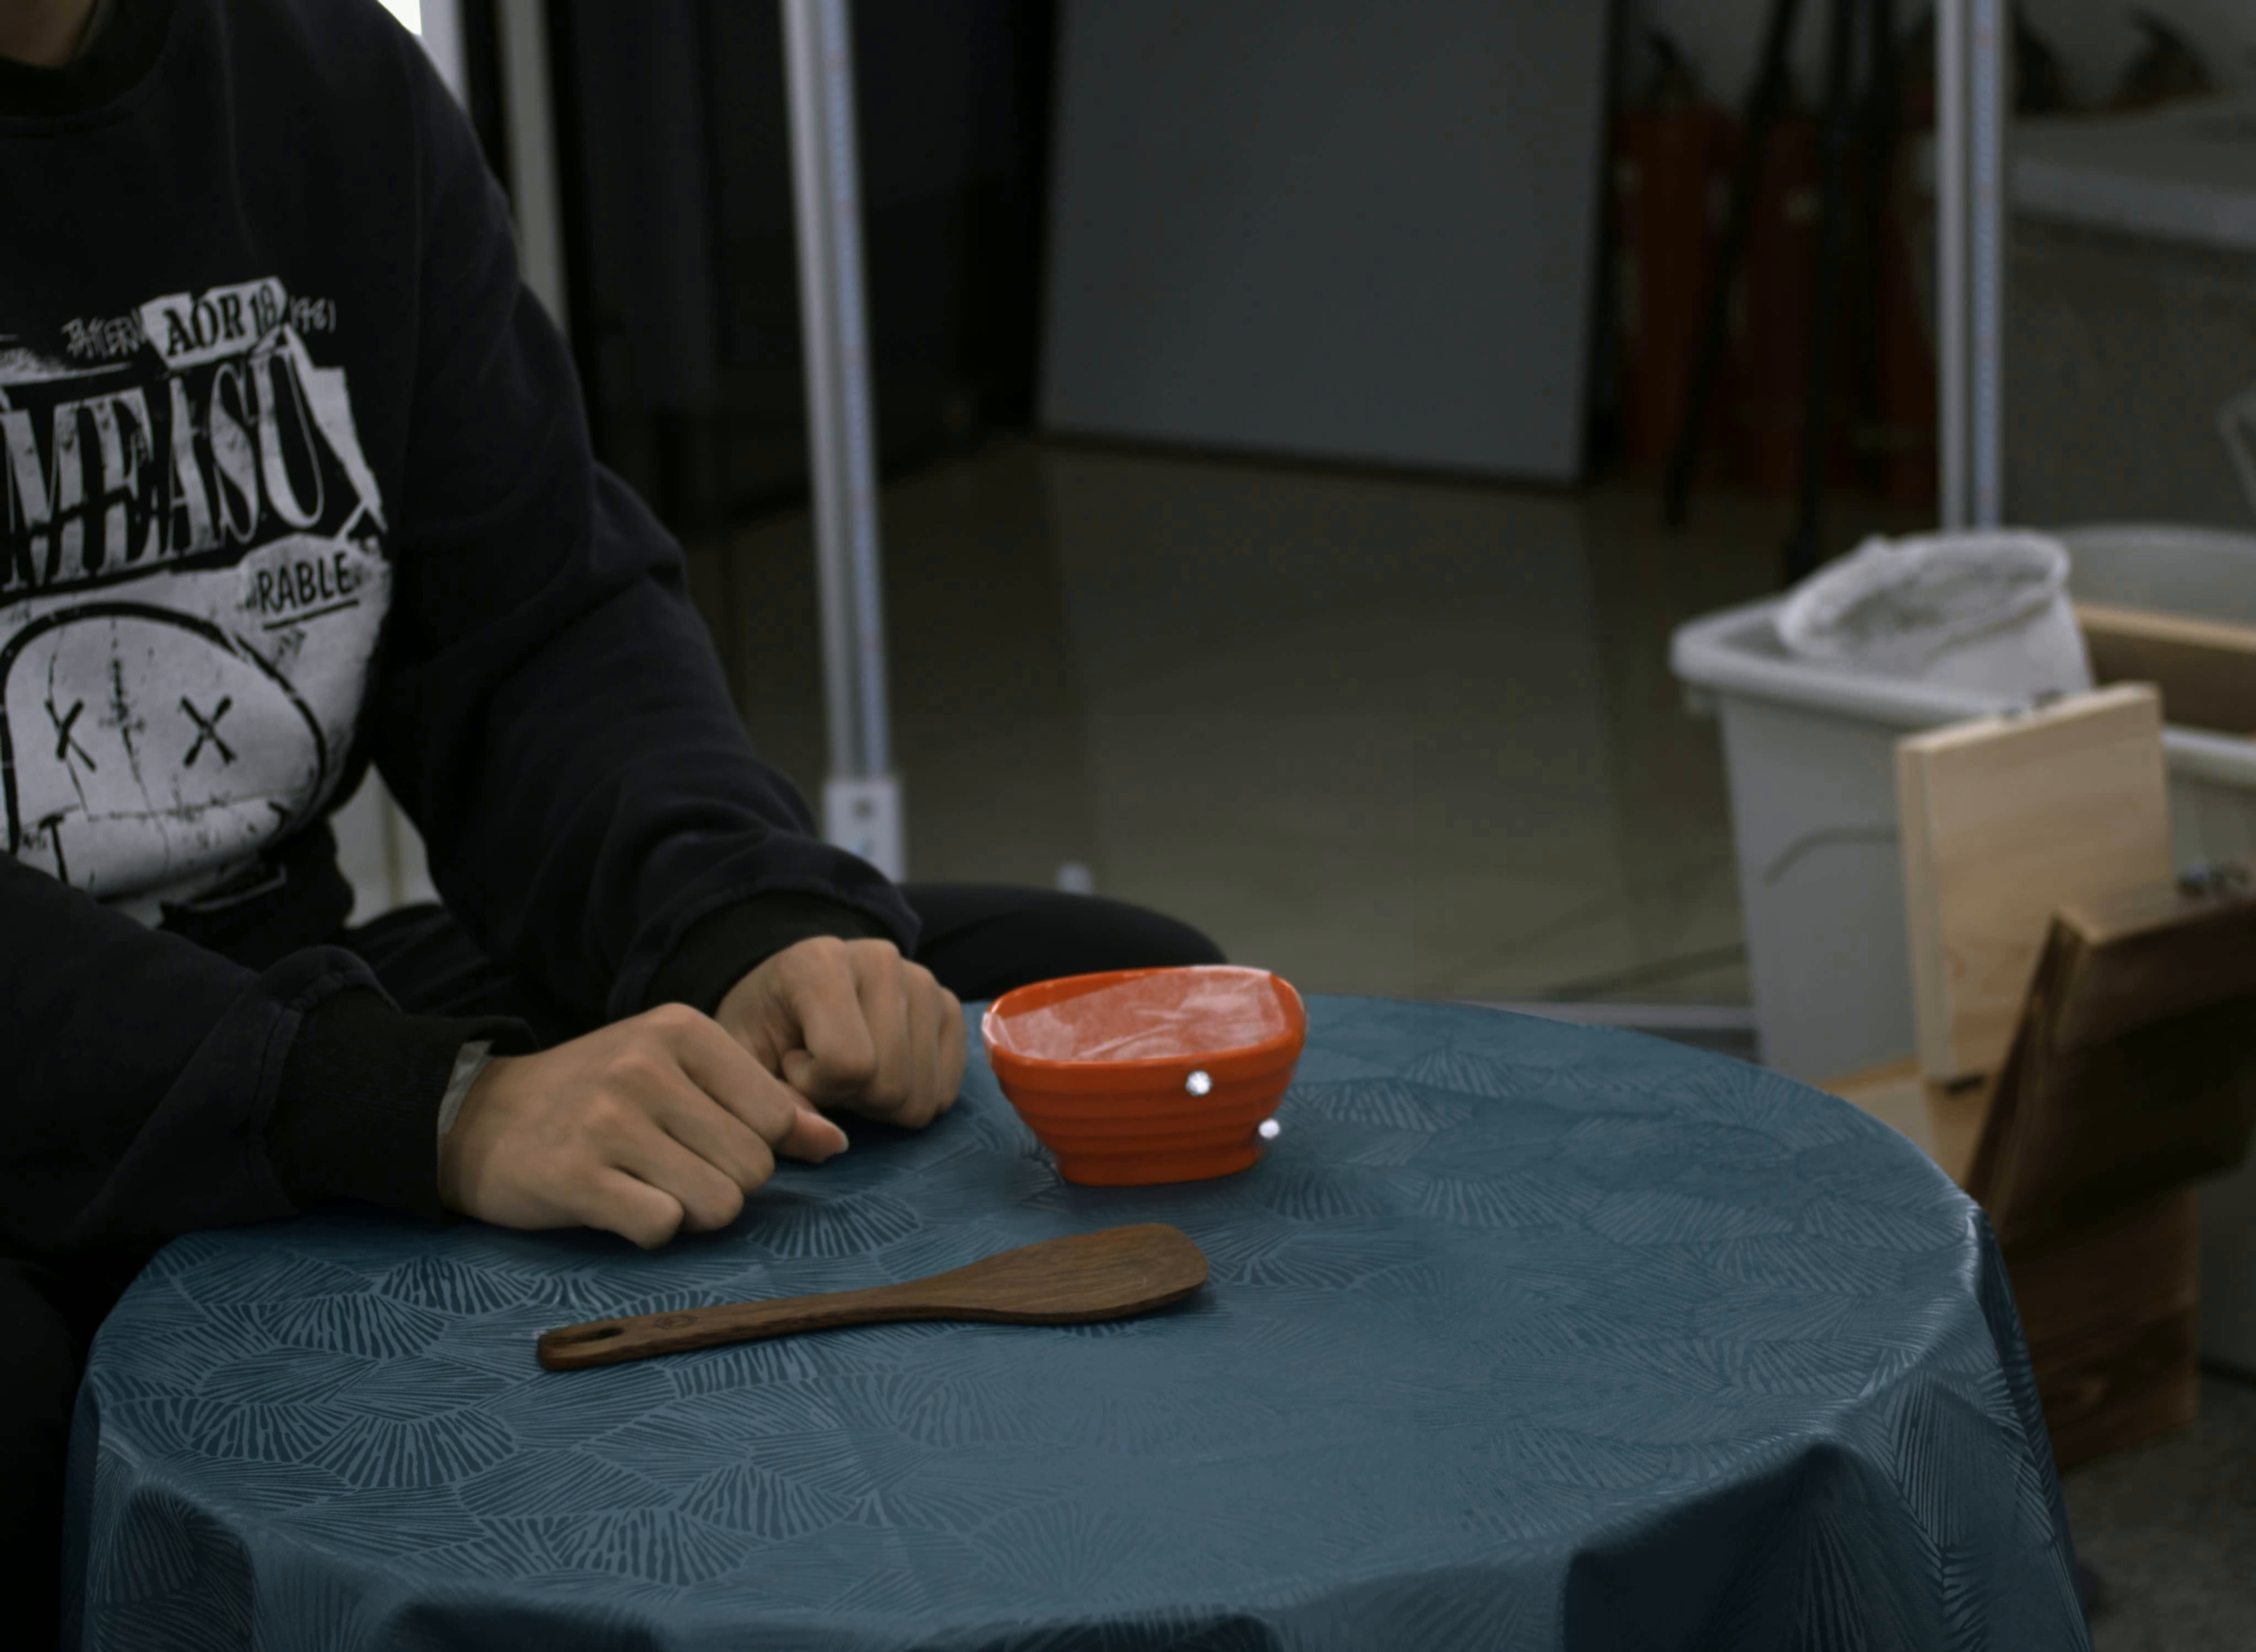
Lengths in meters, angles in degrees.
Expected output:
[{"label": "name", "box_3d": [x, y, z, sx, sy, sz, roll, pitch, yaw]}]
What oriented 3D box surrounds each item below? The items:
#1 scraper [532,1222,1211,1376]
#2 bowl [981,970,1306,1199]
[{"label": "scraper", "box_3d": [-0.079, 0.149, 1.665, 0.207, 0.011, 0.076, -7, 13, -10]}, {"label": "bowl", "box_3d": [0.007, 0.089, 1.802, 0.117, 0.052, 0.119, -5, 15, 0]}]
